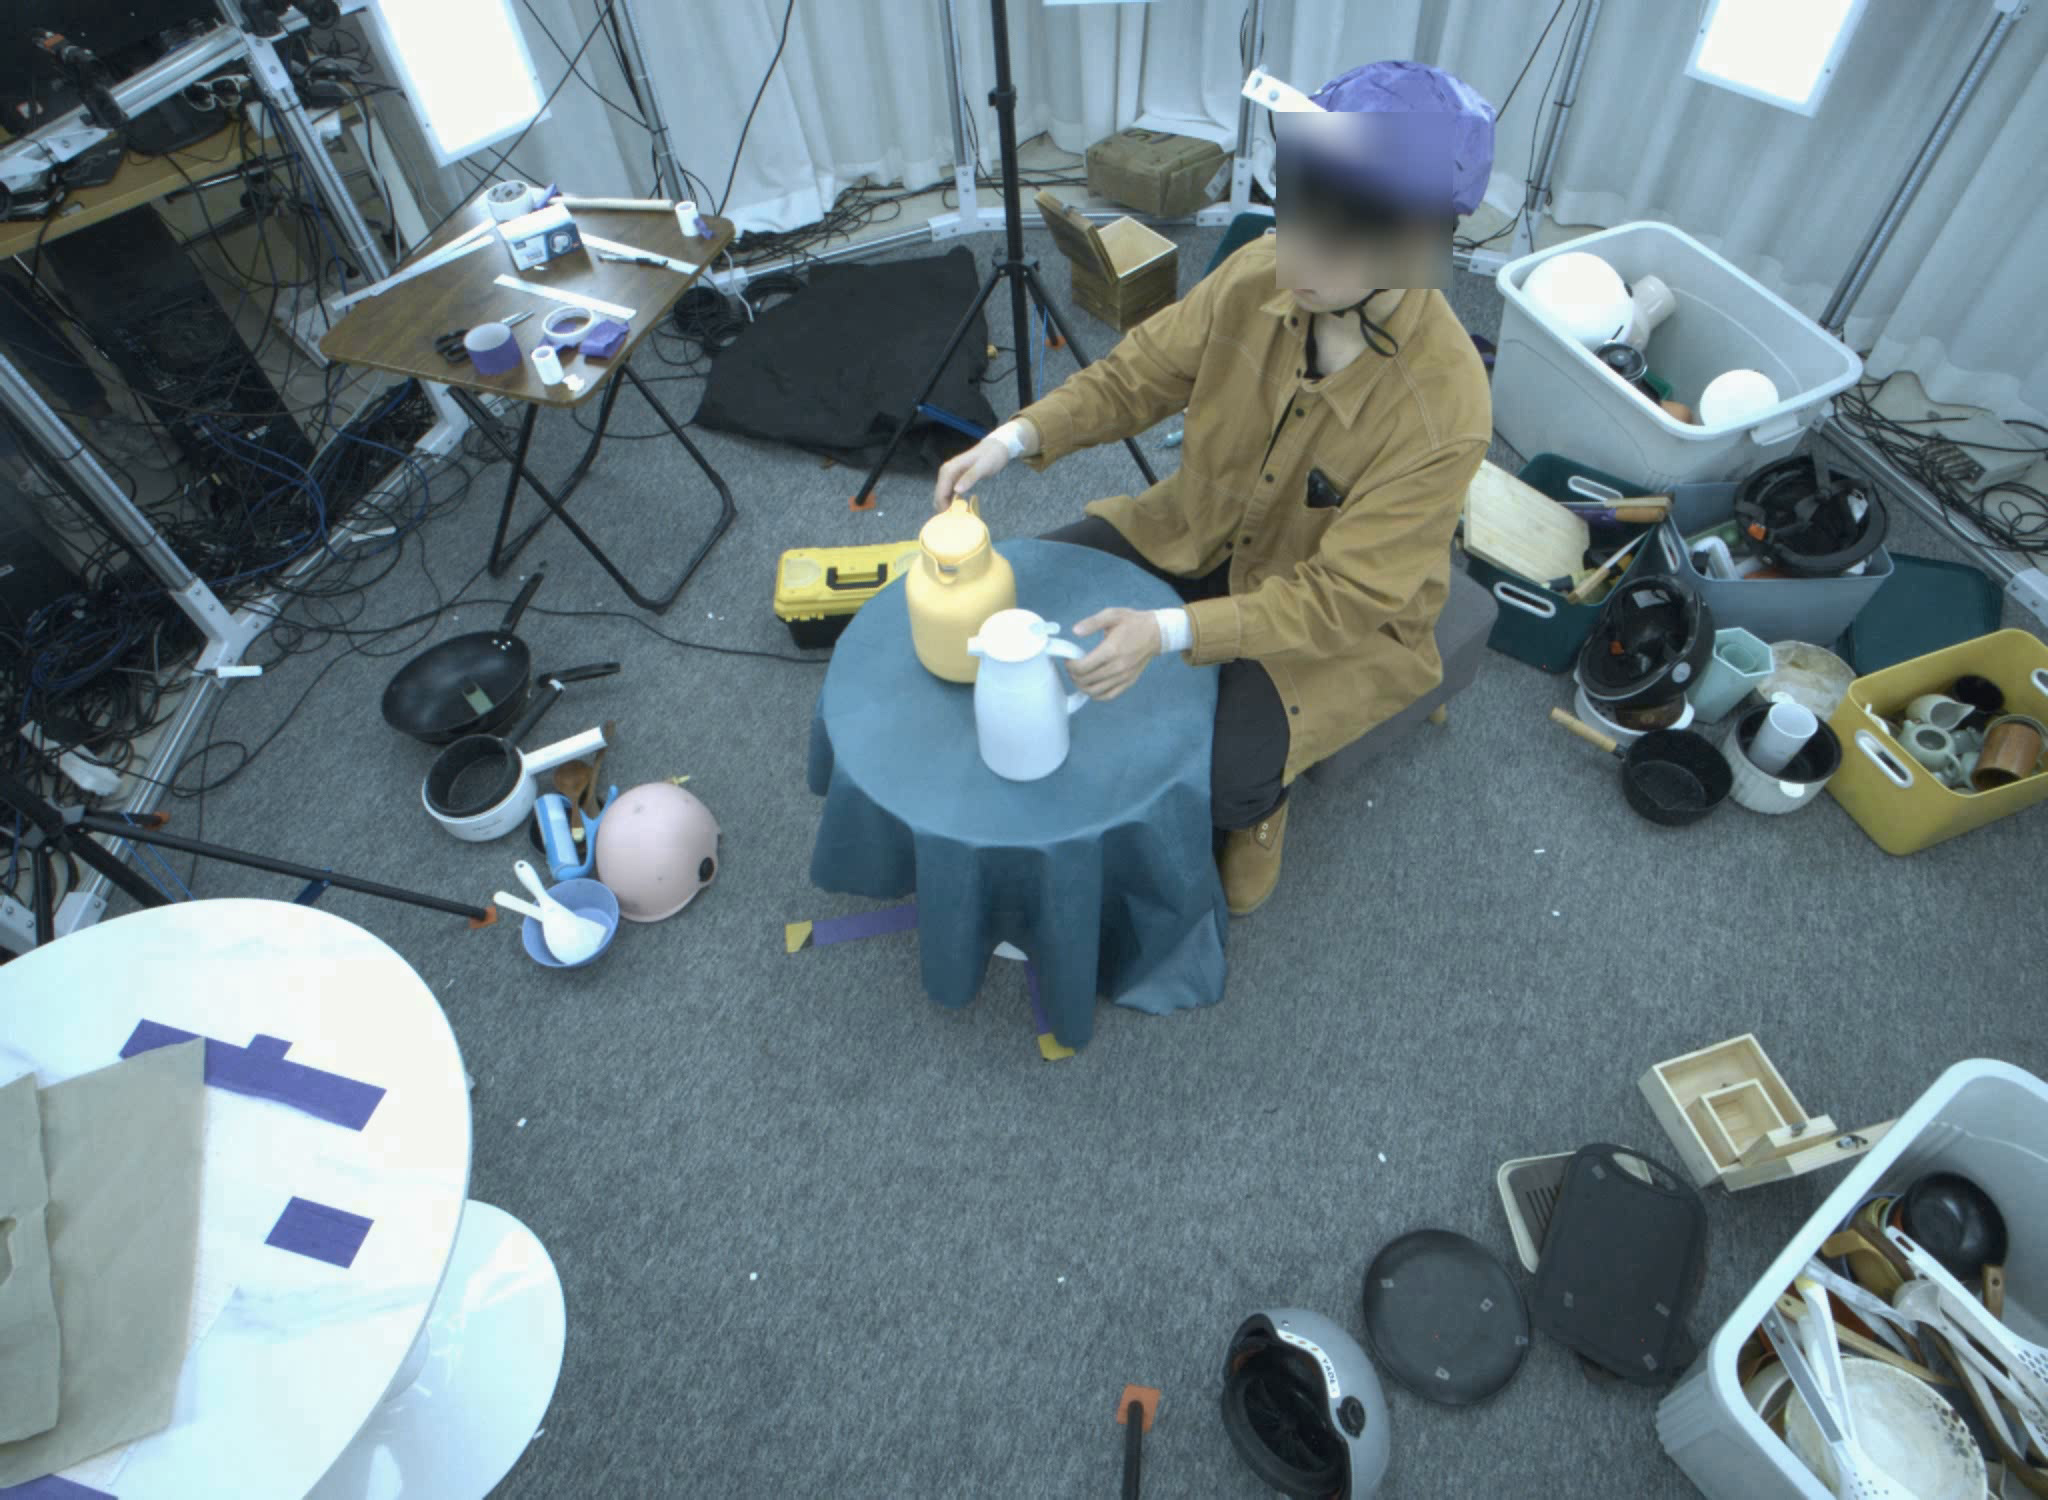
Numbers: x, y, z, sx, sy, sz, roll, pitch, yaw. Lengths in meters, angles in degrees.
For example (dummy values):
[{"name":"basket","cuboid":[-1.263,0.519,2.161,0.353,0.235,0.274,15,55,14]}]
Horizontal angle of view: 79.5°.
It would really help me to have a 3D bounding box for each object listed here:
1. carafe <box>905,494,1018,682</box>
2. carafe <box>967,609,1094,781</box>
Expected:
[{"name":"carafe","cuboid":[-0.088,-0.245,1.801,0.163,0.263,0.201,7,56,6]},{"name":"carafe","cuboid":[0.012,-0.083,1.689,0.168,0.251,0.131,-4,54,0]}]
